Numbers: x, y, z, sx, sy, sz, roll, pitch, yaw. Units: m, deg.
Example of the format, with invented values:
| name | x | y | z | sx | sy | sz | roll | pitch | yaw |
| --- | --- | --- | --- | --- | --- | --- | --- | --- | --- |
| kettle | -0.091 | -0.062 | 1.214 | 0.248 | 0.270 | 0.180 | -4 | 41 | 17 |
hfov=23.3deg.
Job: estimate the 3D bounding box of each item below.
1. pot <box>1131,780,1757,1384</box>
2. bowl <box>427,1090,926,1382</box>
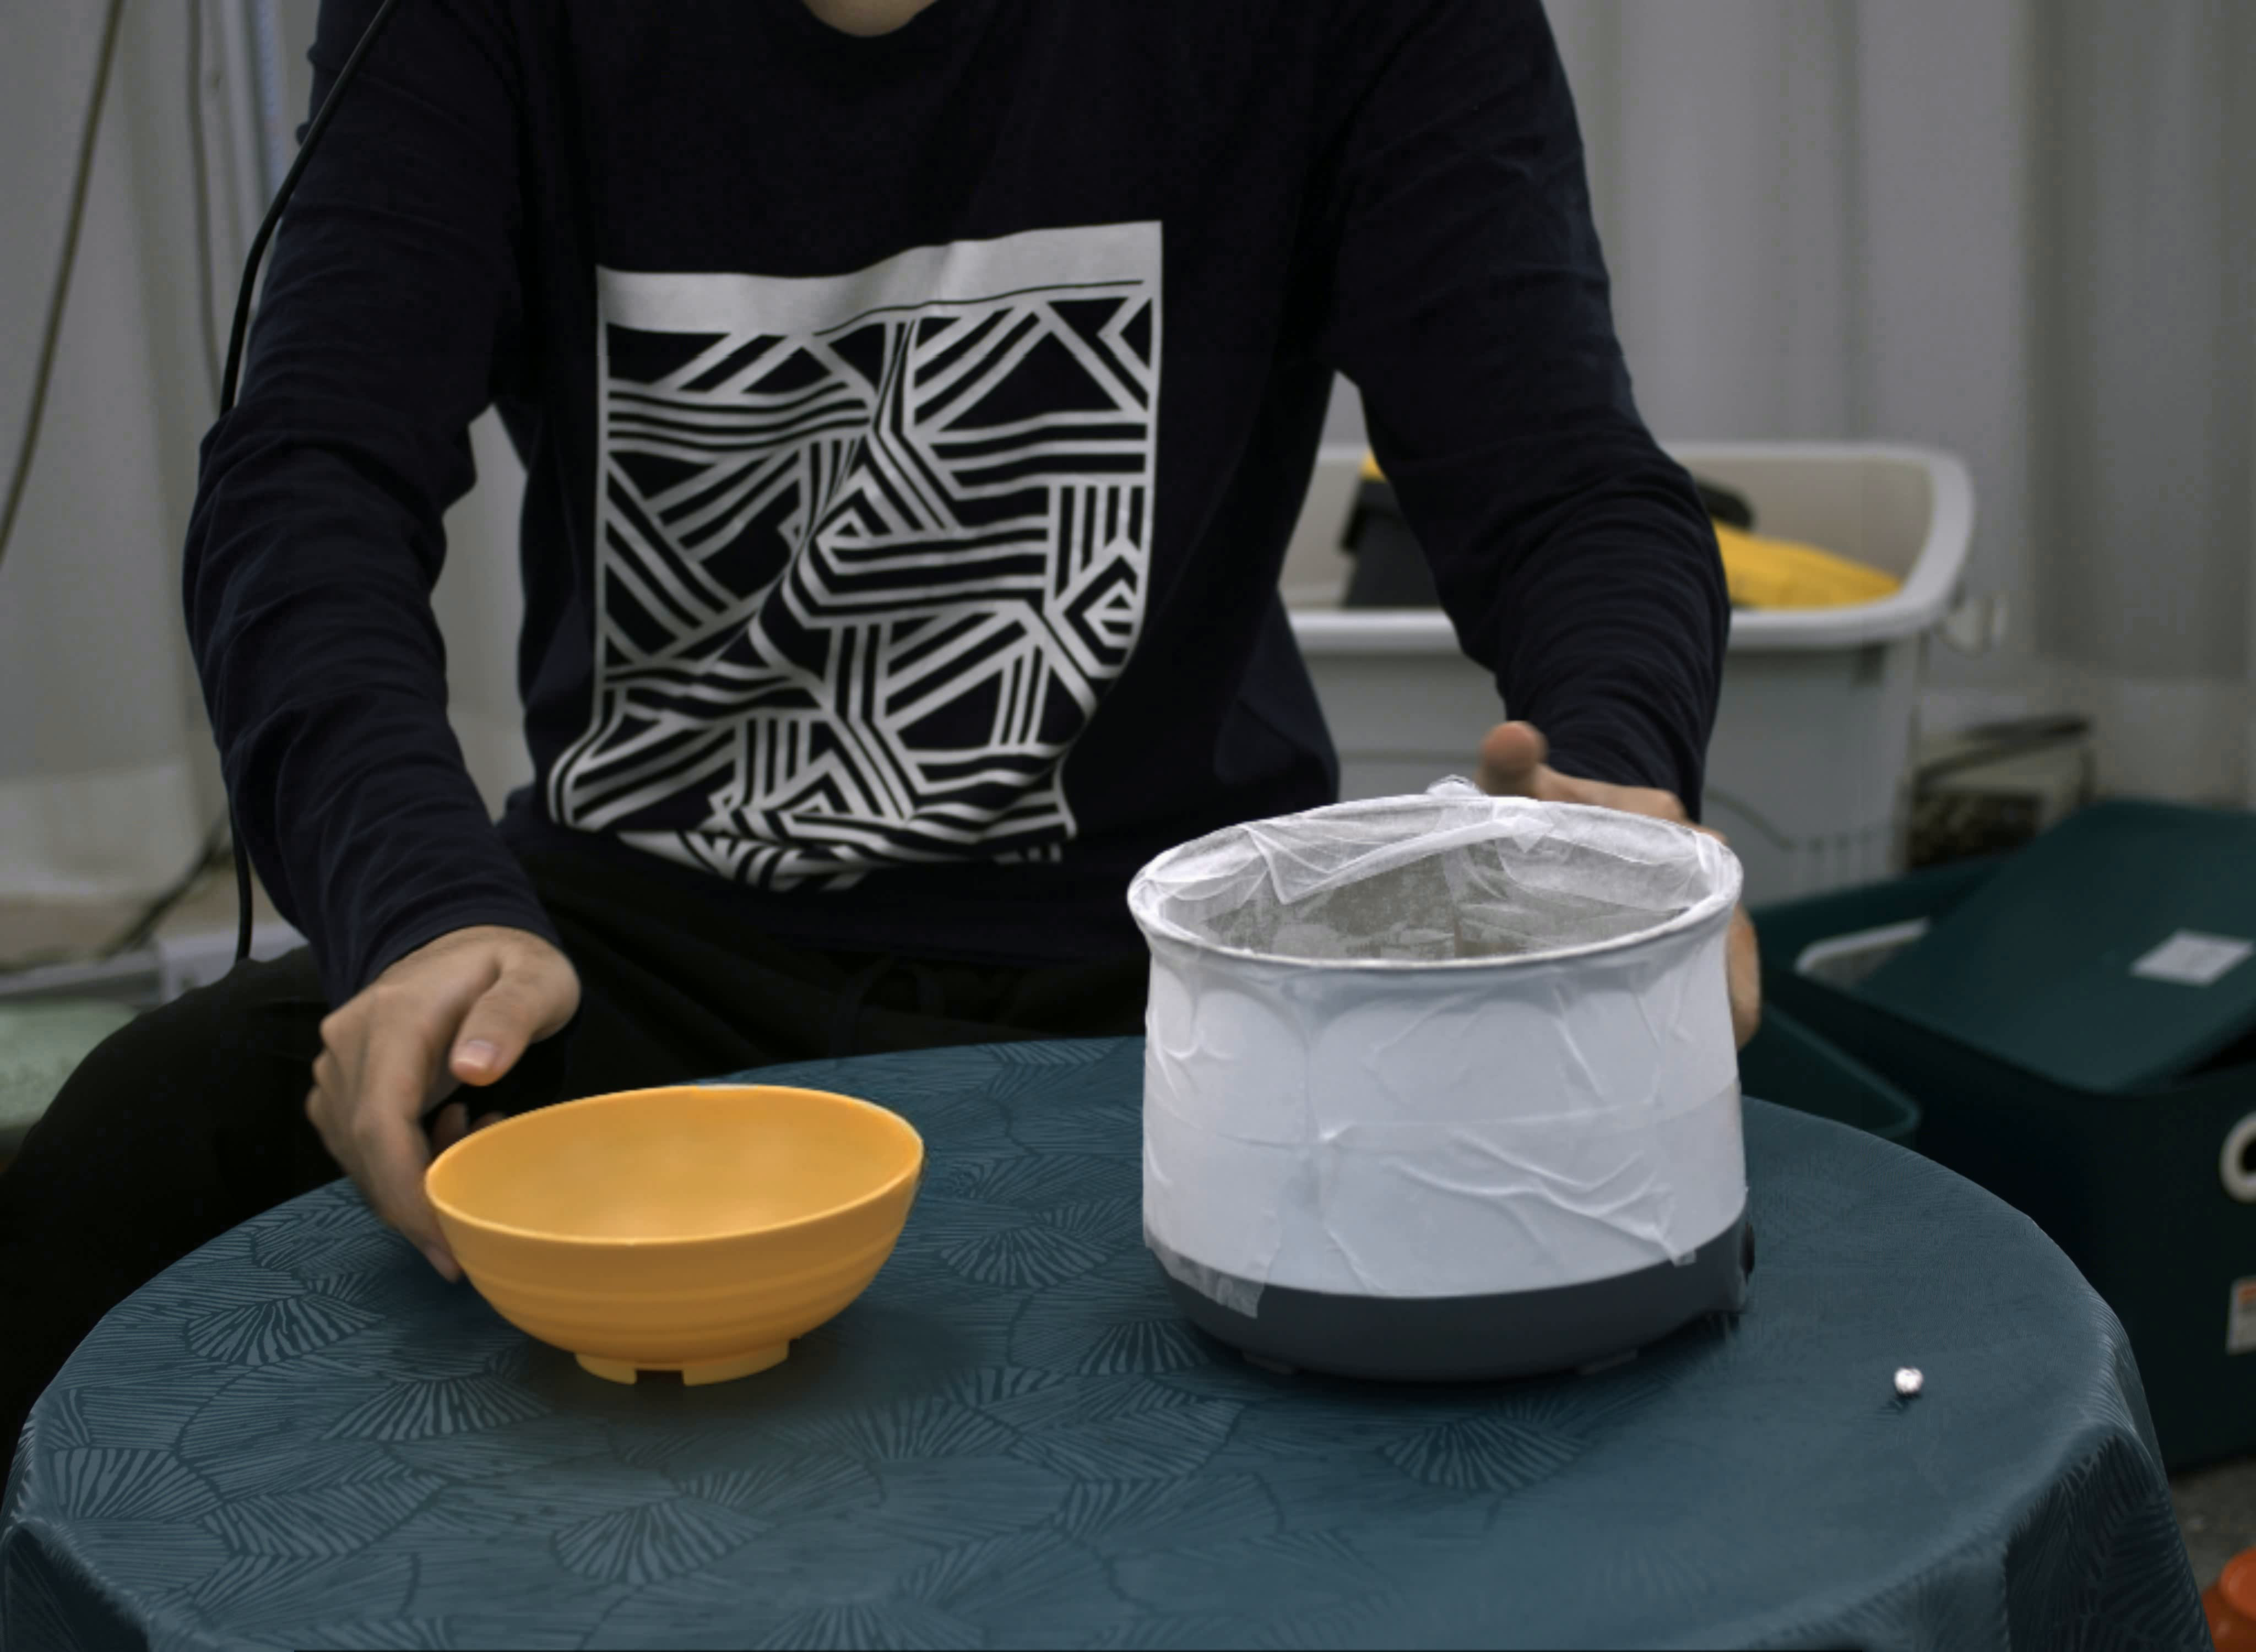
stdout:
| name | x | y | z | sx | sy | sz | roll | pitch | yaw |
| --- | --- | --- | --- | --- | --- | --- | --- | --- | --- |
| pot | 0.094 | 0.070 | 1.609 | 0.178 | 0.136 | 0.235 | -1 | 14 | 6 |
| bowl | -0.128 | 0.123 | 1.588 | 0.145 | 0.060 | 0.146 | -4 | 12 | 1 |
